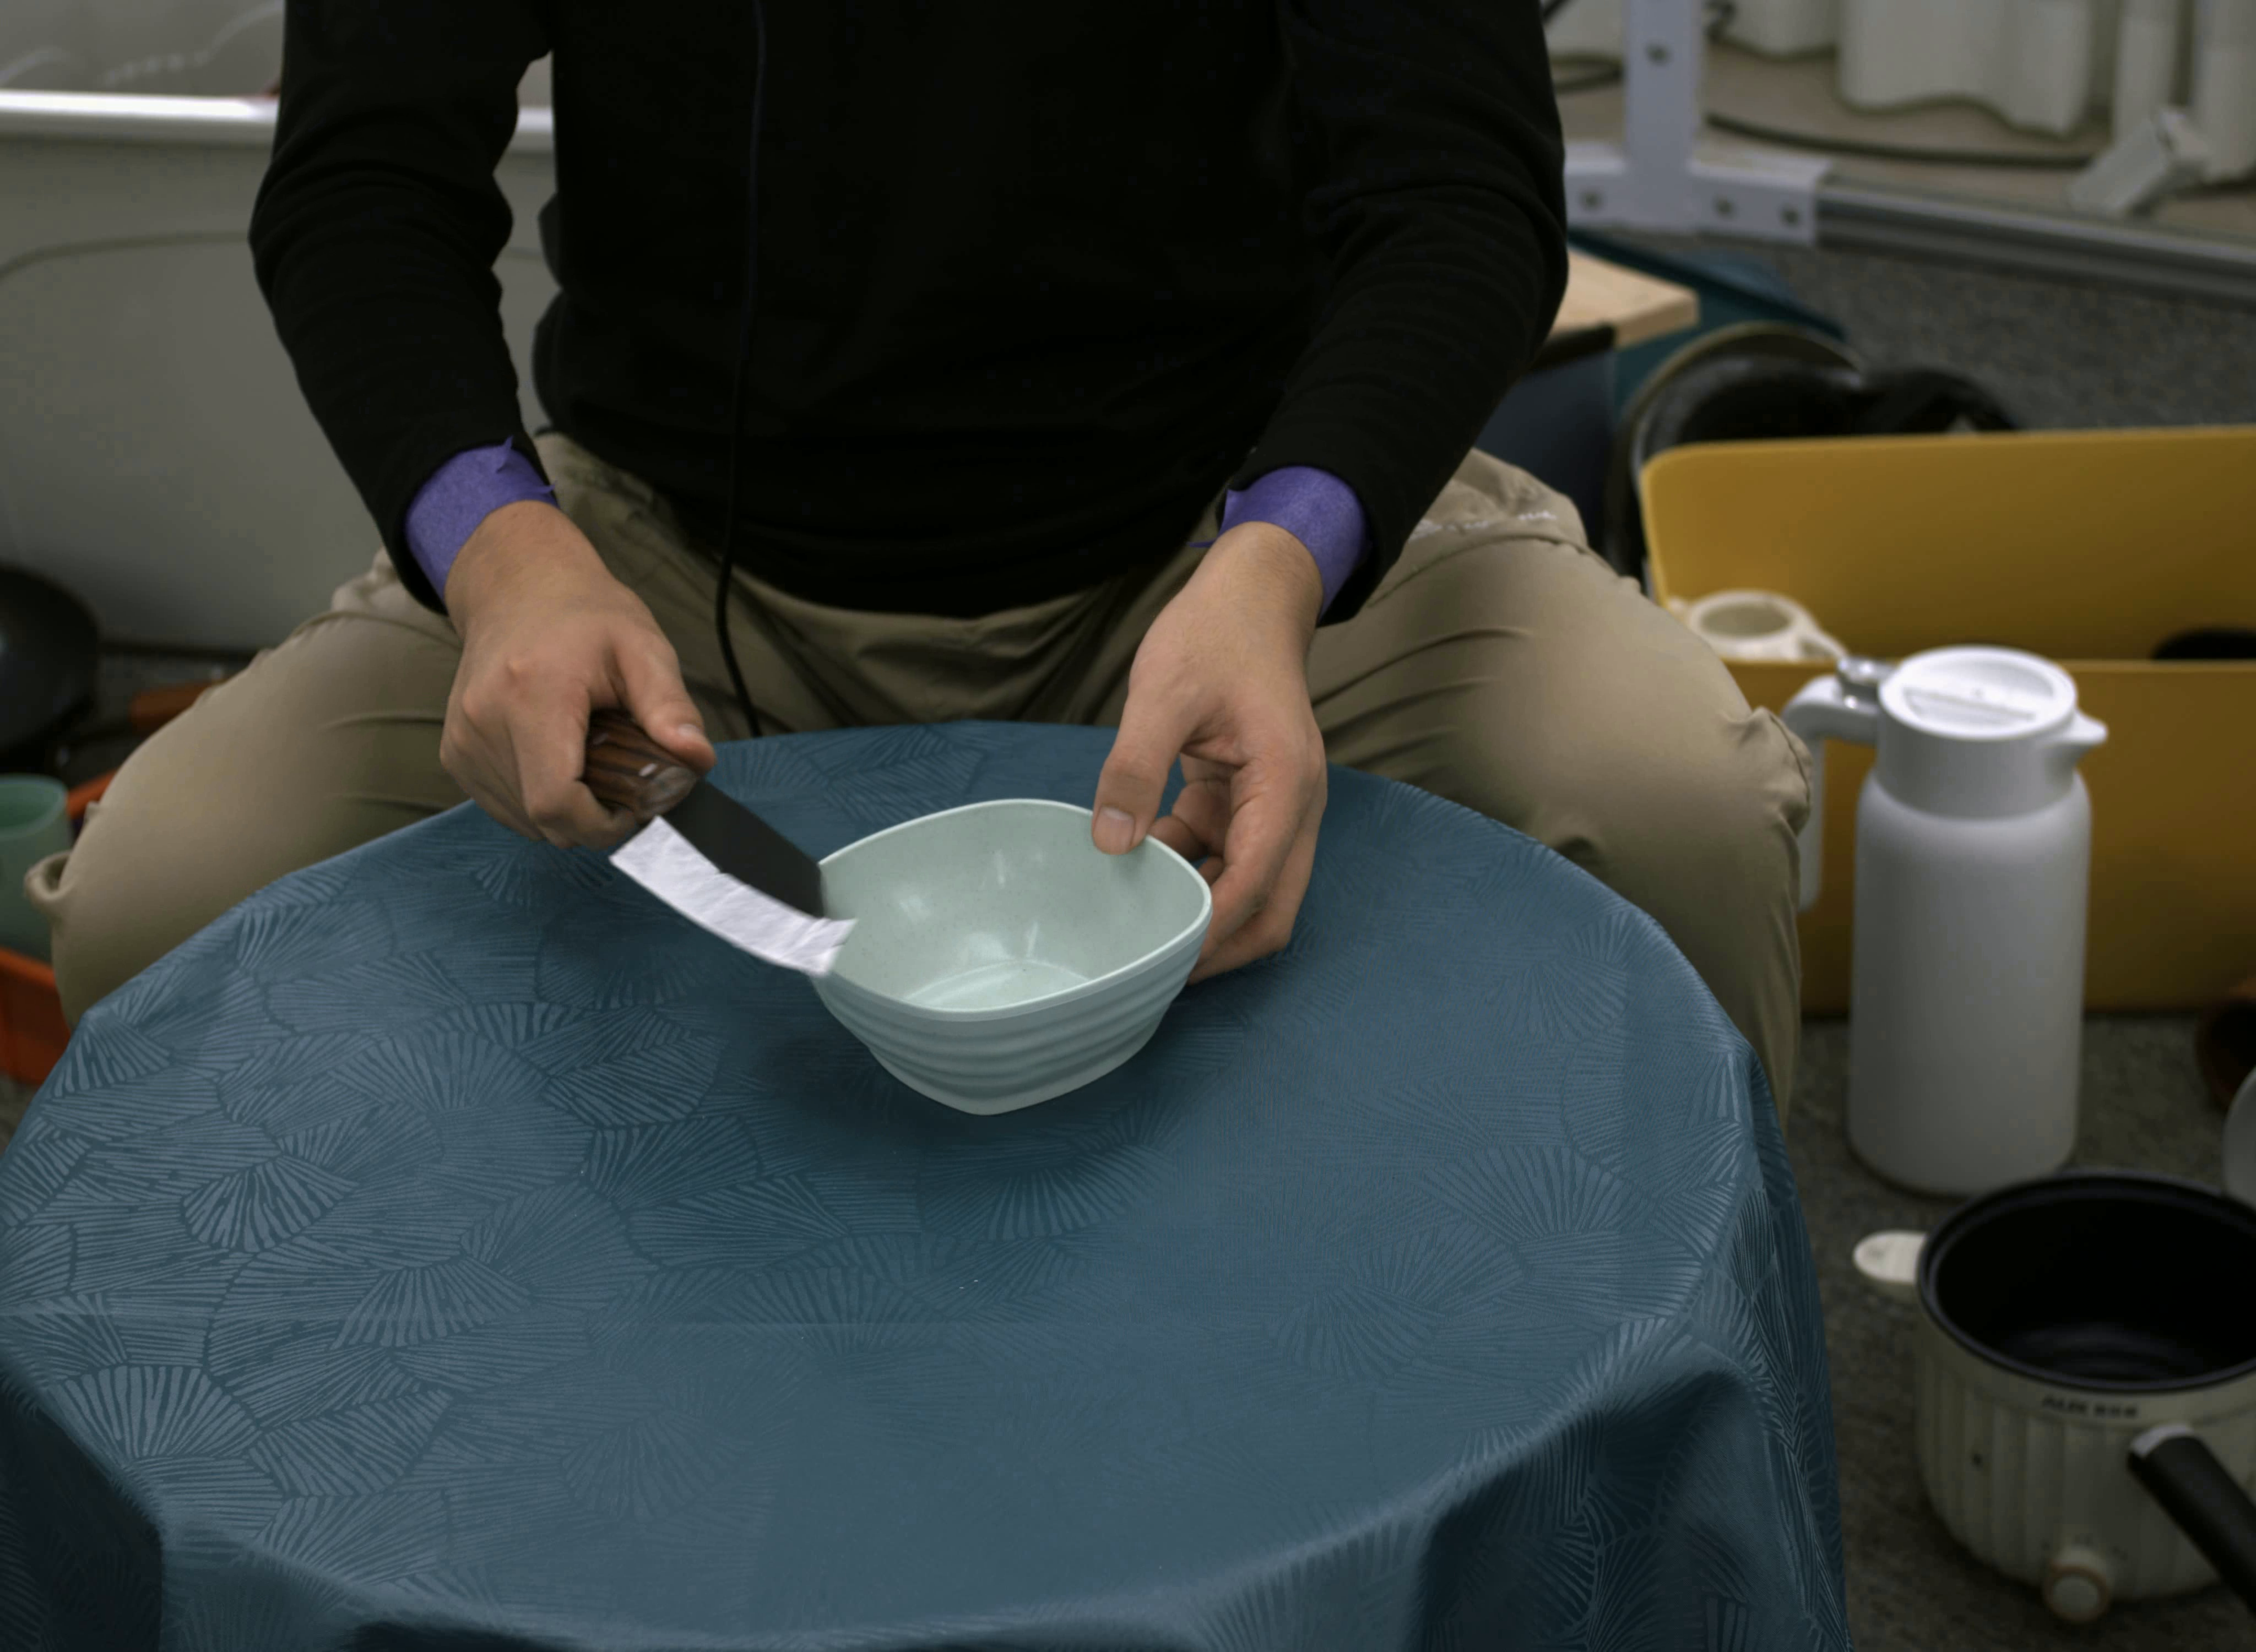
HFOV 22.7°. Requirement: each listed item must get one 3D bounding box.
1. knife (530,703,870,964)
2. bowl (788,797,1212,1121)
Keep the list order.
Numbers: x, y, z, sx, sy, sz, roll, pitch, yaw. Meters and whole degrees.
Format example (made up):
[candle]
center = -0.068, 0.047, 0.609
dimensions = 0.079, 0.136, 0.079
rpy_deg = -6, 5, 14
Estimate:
[knife]
center = -0.149, 0.003, 1.934
dimensions = 0.050, 0.020, 0.290
rpy_deg = -40, 28, -10
[bowl]
center = -0.045, 0.052, 1.939
dimensions = 0.151, 0.058, 0.154
rpy_deg = -2, 29, 1
